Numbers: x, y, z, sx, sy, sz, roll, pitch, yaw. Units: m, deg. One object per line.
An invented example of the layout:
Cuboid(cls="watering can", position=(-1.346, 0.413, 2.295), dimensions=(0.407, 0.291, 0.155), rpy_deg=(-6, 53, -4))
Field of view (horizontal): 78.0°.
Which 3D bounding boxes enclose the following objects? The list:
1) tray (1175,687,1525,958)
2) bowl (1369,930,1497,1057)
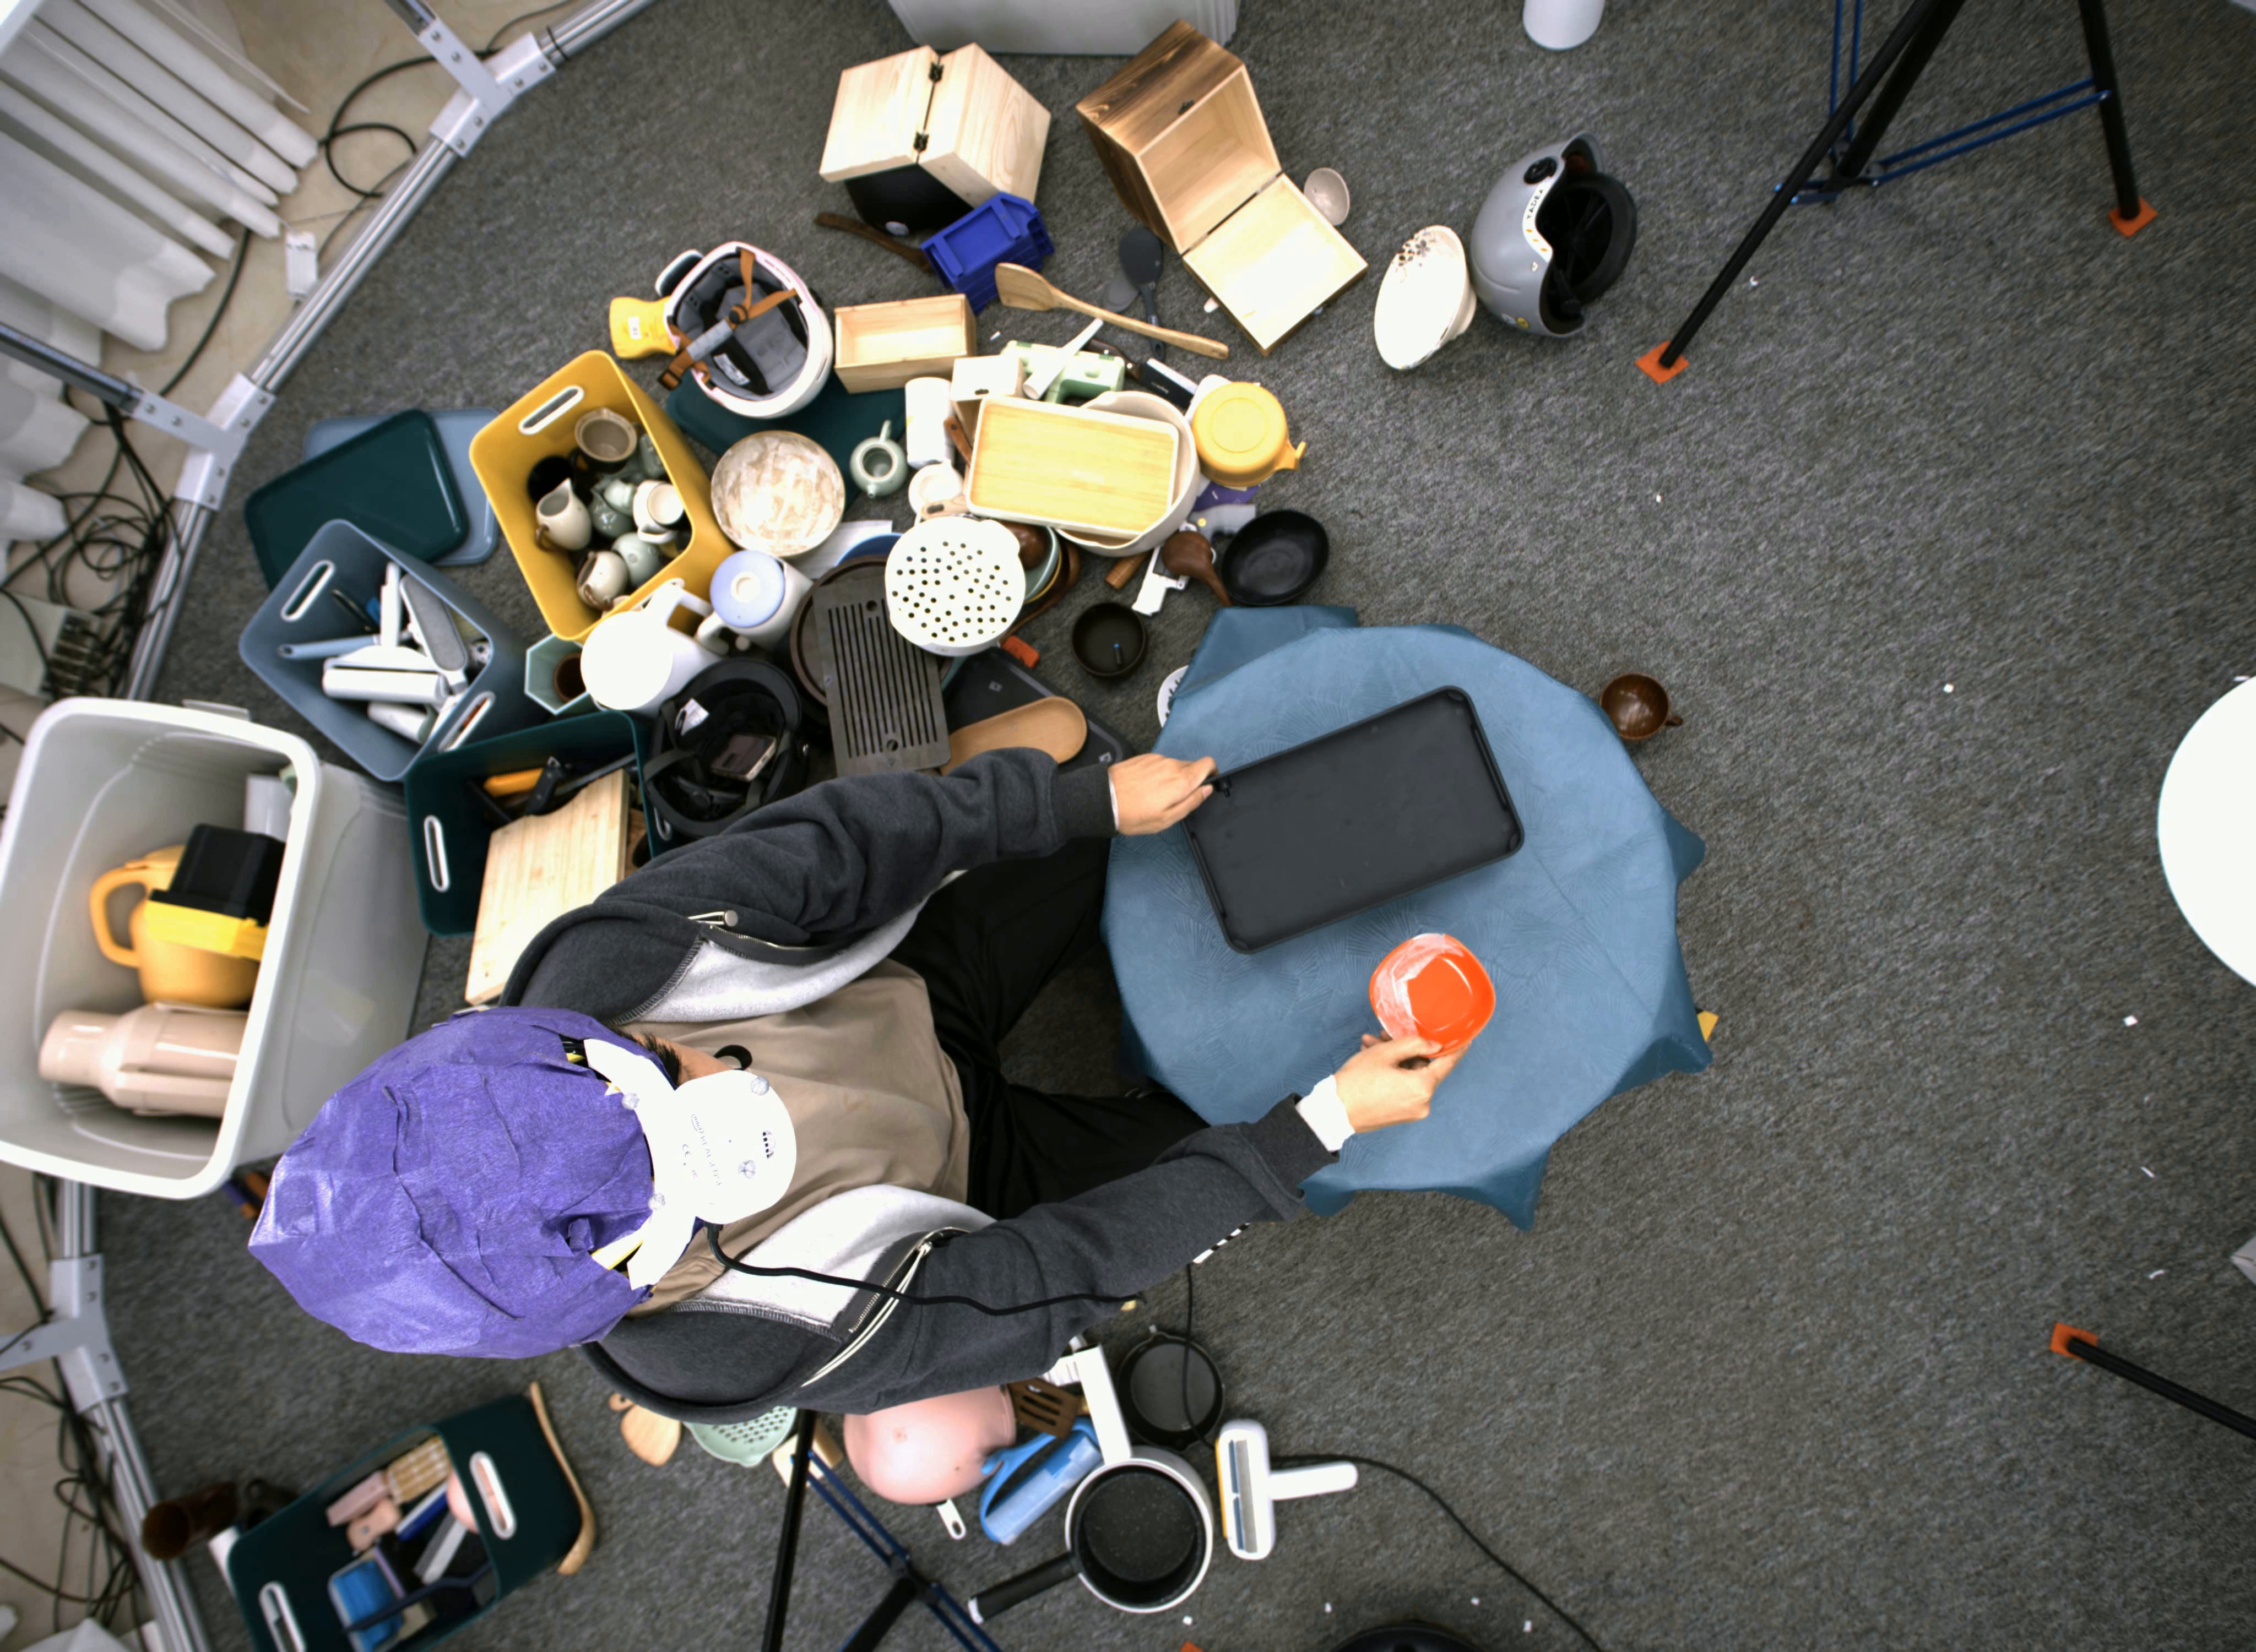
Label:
Cuboid(cls="tray", position=(0.222, -0.003, 1.398), dimensions=(0.319, 0.037, 0.183), rpy_deg=(-22, 86, 6))
Cuboid(cls="bowl", position=(0.292, 0.157, 1.314), dimensions=(0.119, 0.051, 0.118), rpy_deg=(-1, 88, 18))
